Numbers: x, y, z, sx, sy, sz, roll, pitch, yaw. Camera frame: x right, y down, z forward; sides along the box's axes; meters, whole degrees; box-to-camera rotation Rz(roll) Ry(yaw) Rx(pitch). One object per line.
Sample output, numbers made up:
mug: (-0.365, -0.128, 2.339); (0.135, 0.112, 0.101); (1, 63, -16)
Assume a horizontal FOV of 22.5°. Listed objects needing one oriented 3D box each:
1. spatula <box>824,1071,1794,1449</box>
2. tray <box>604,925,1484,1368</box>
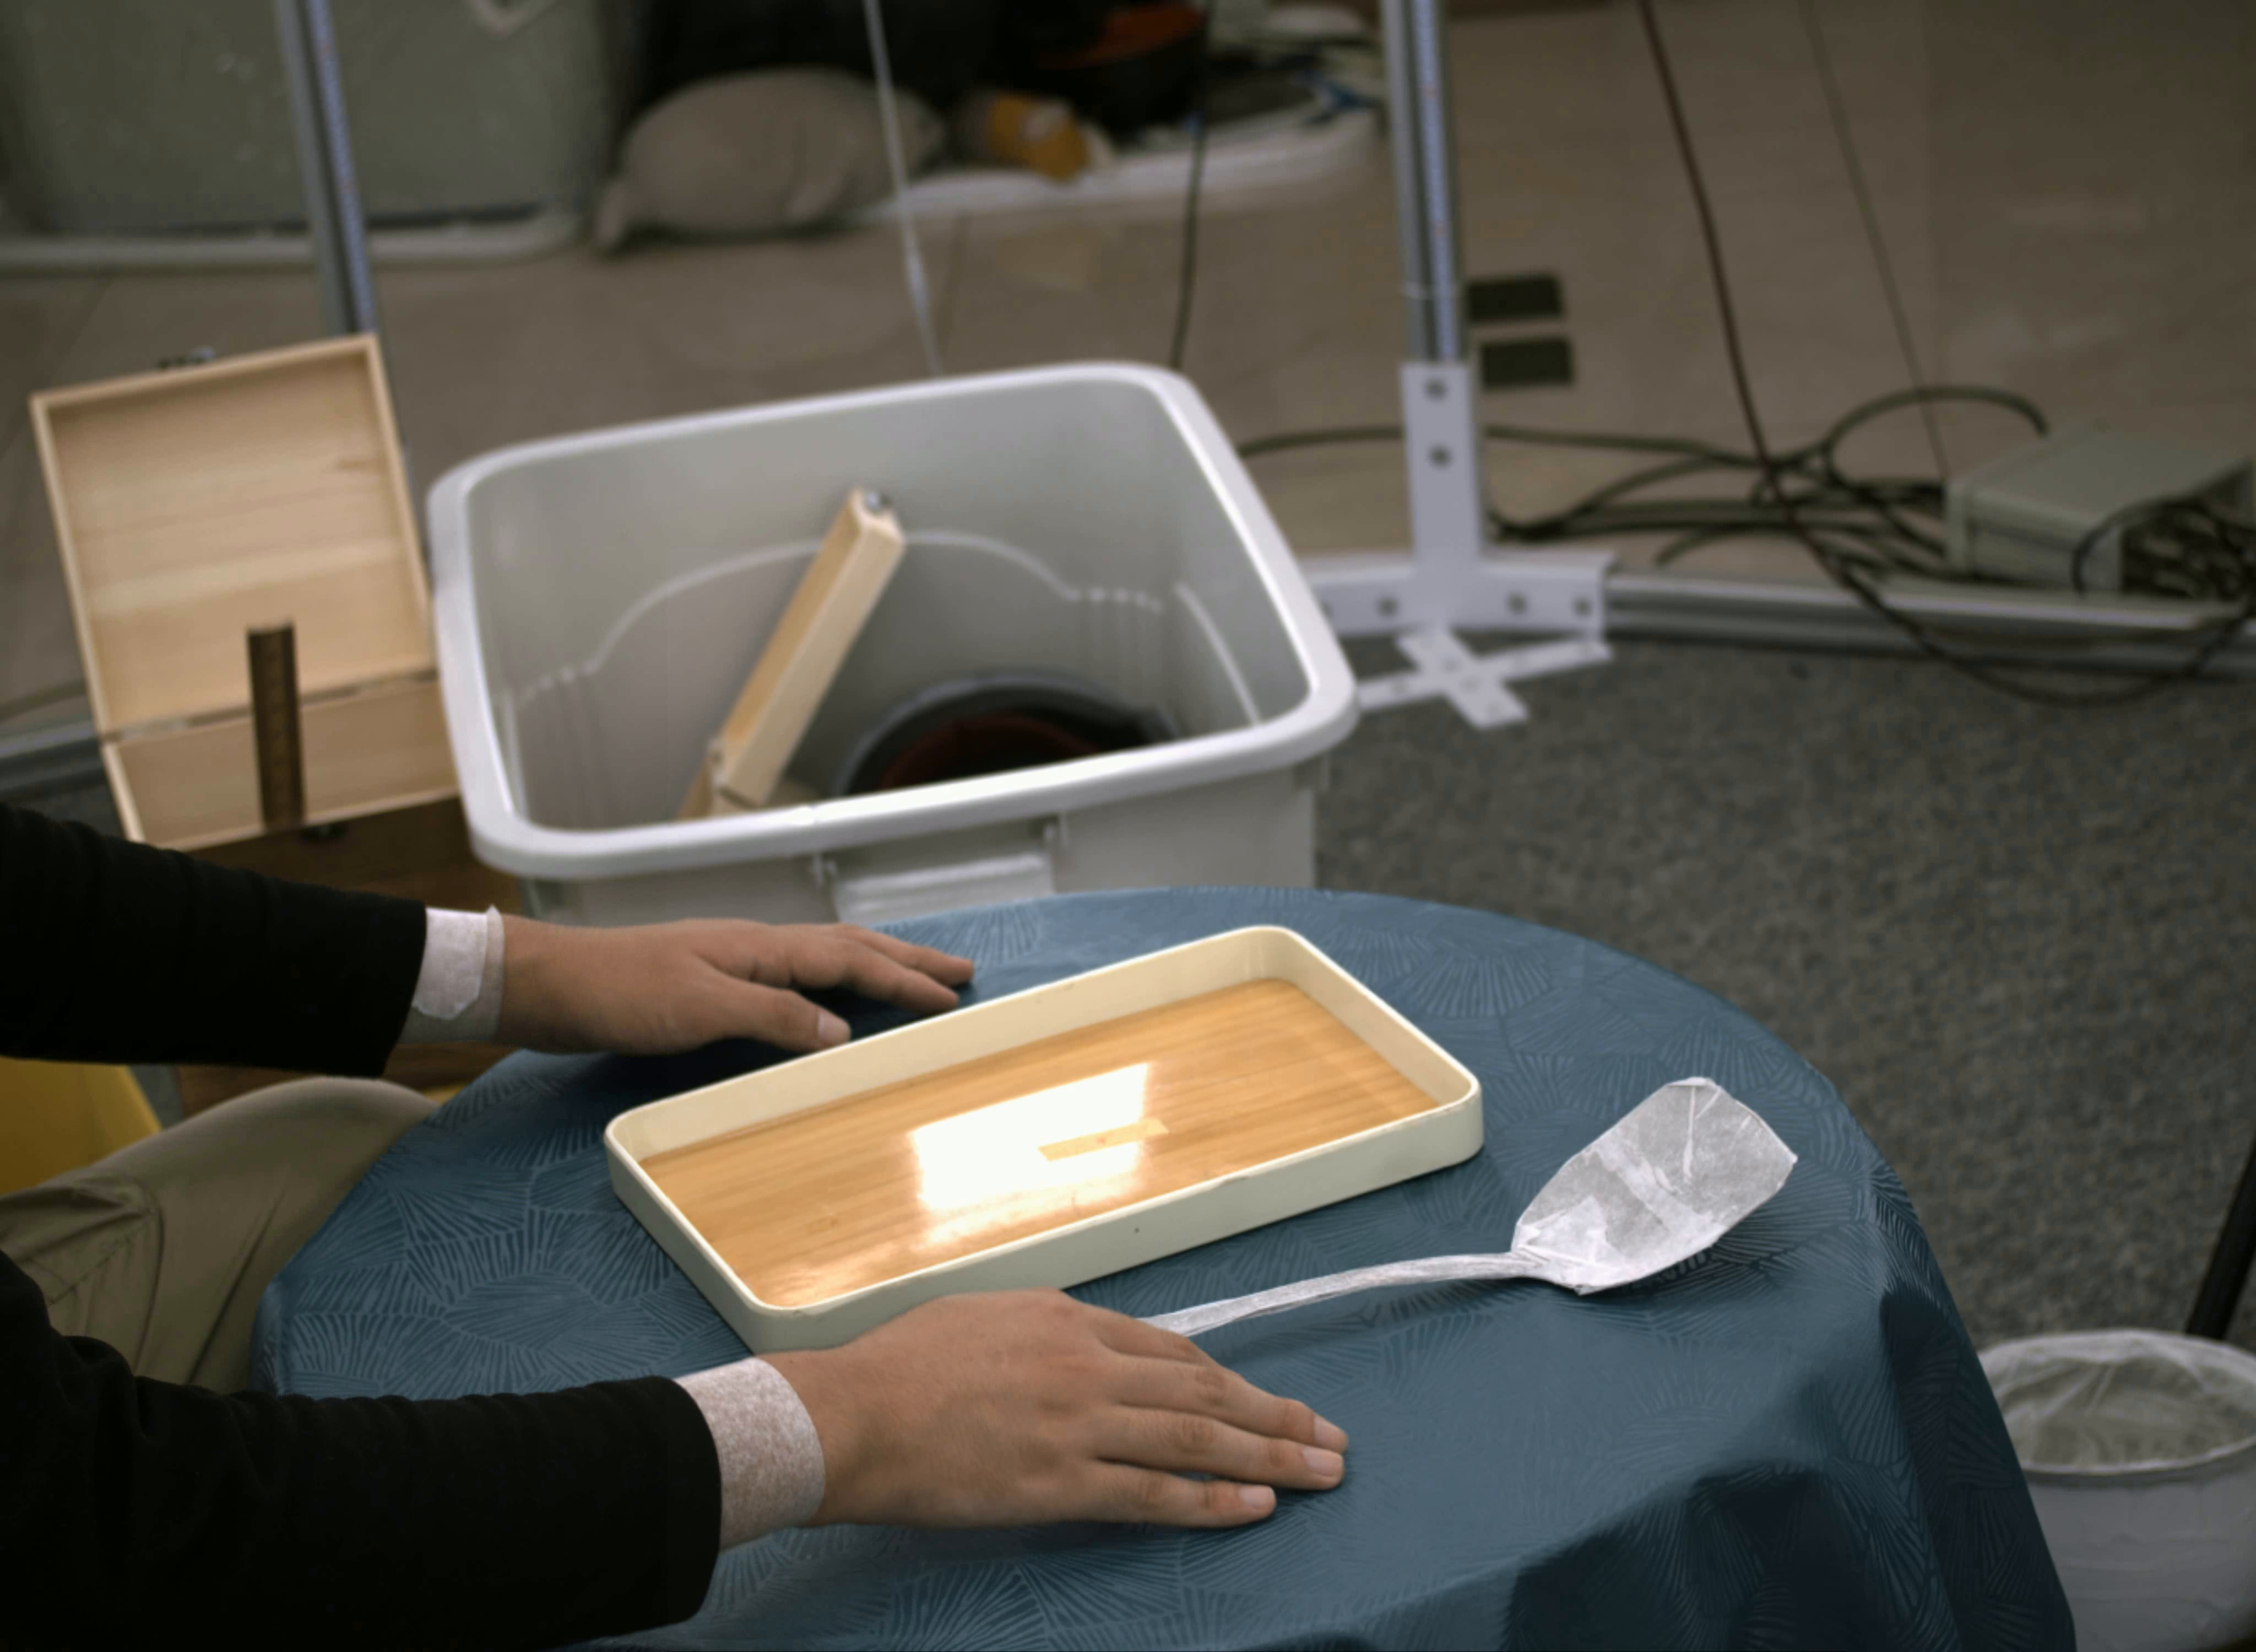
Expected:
spatula: (0.065, 0.163, 2.035); (0.364, 0.045, 0.097); (-13, 27, -15)
tray: (-0.033, 0.119, 2.168); (0.299, 0.028, 0.189); (-16, 26, -19)
